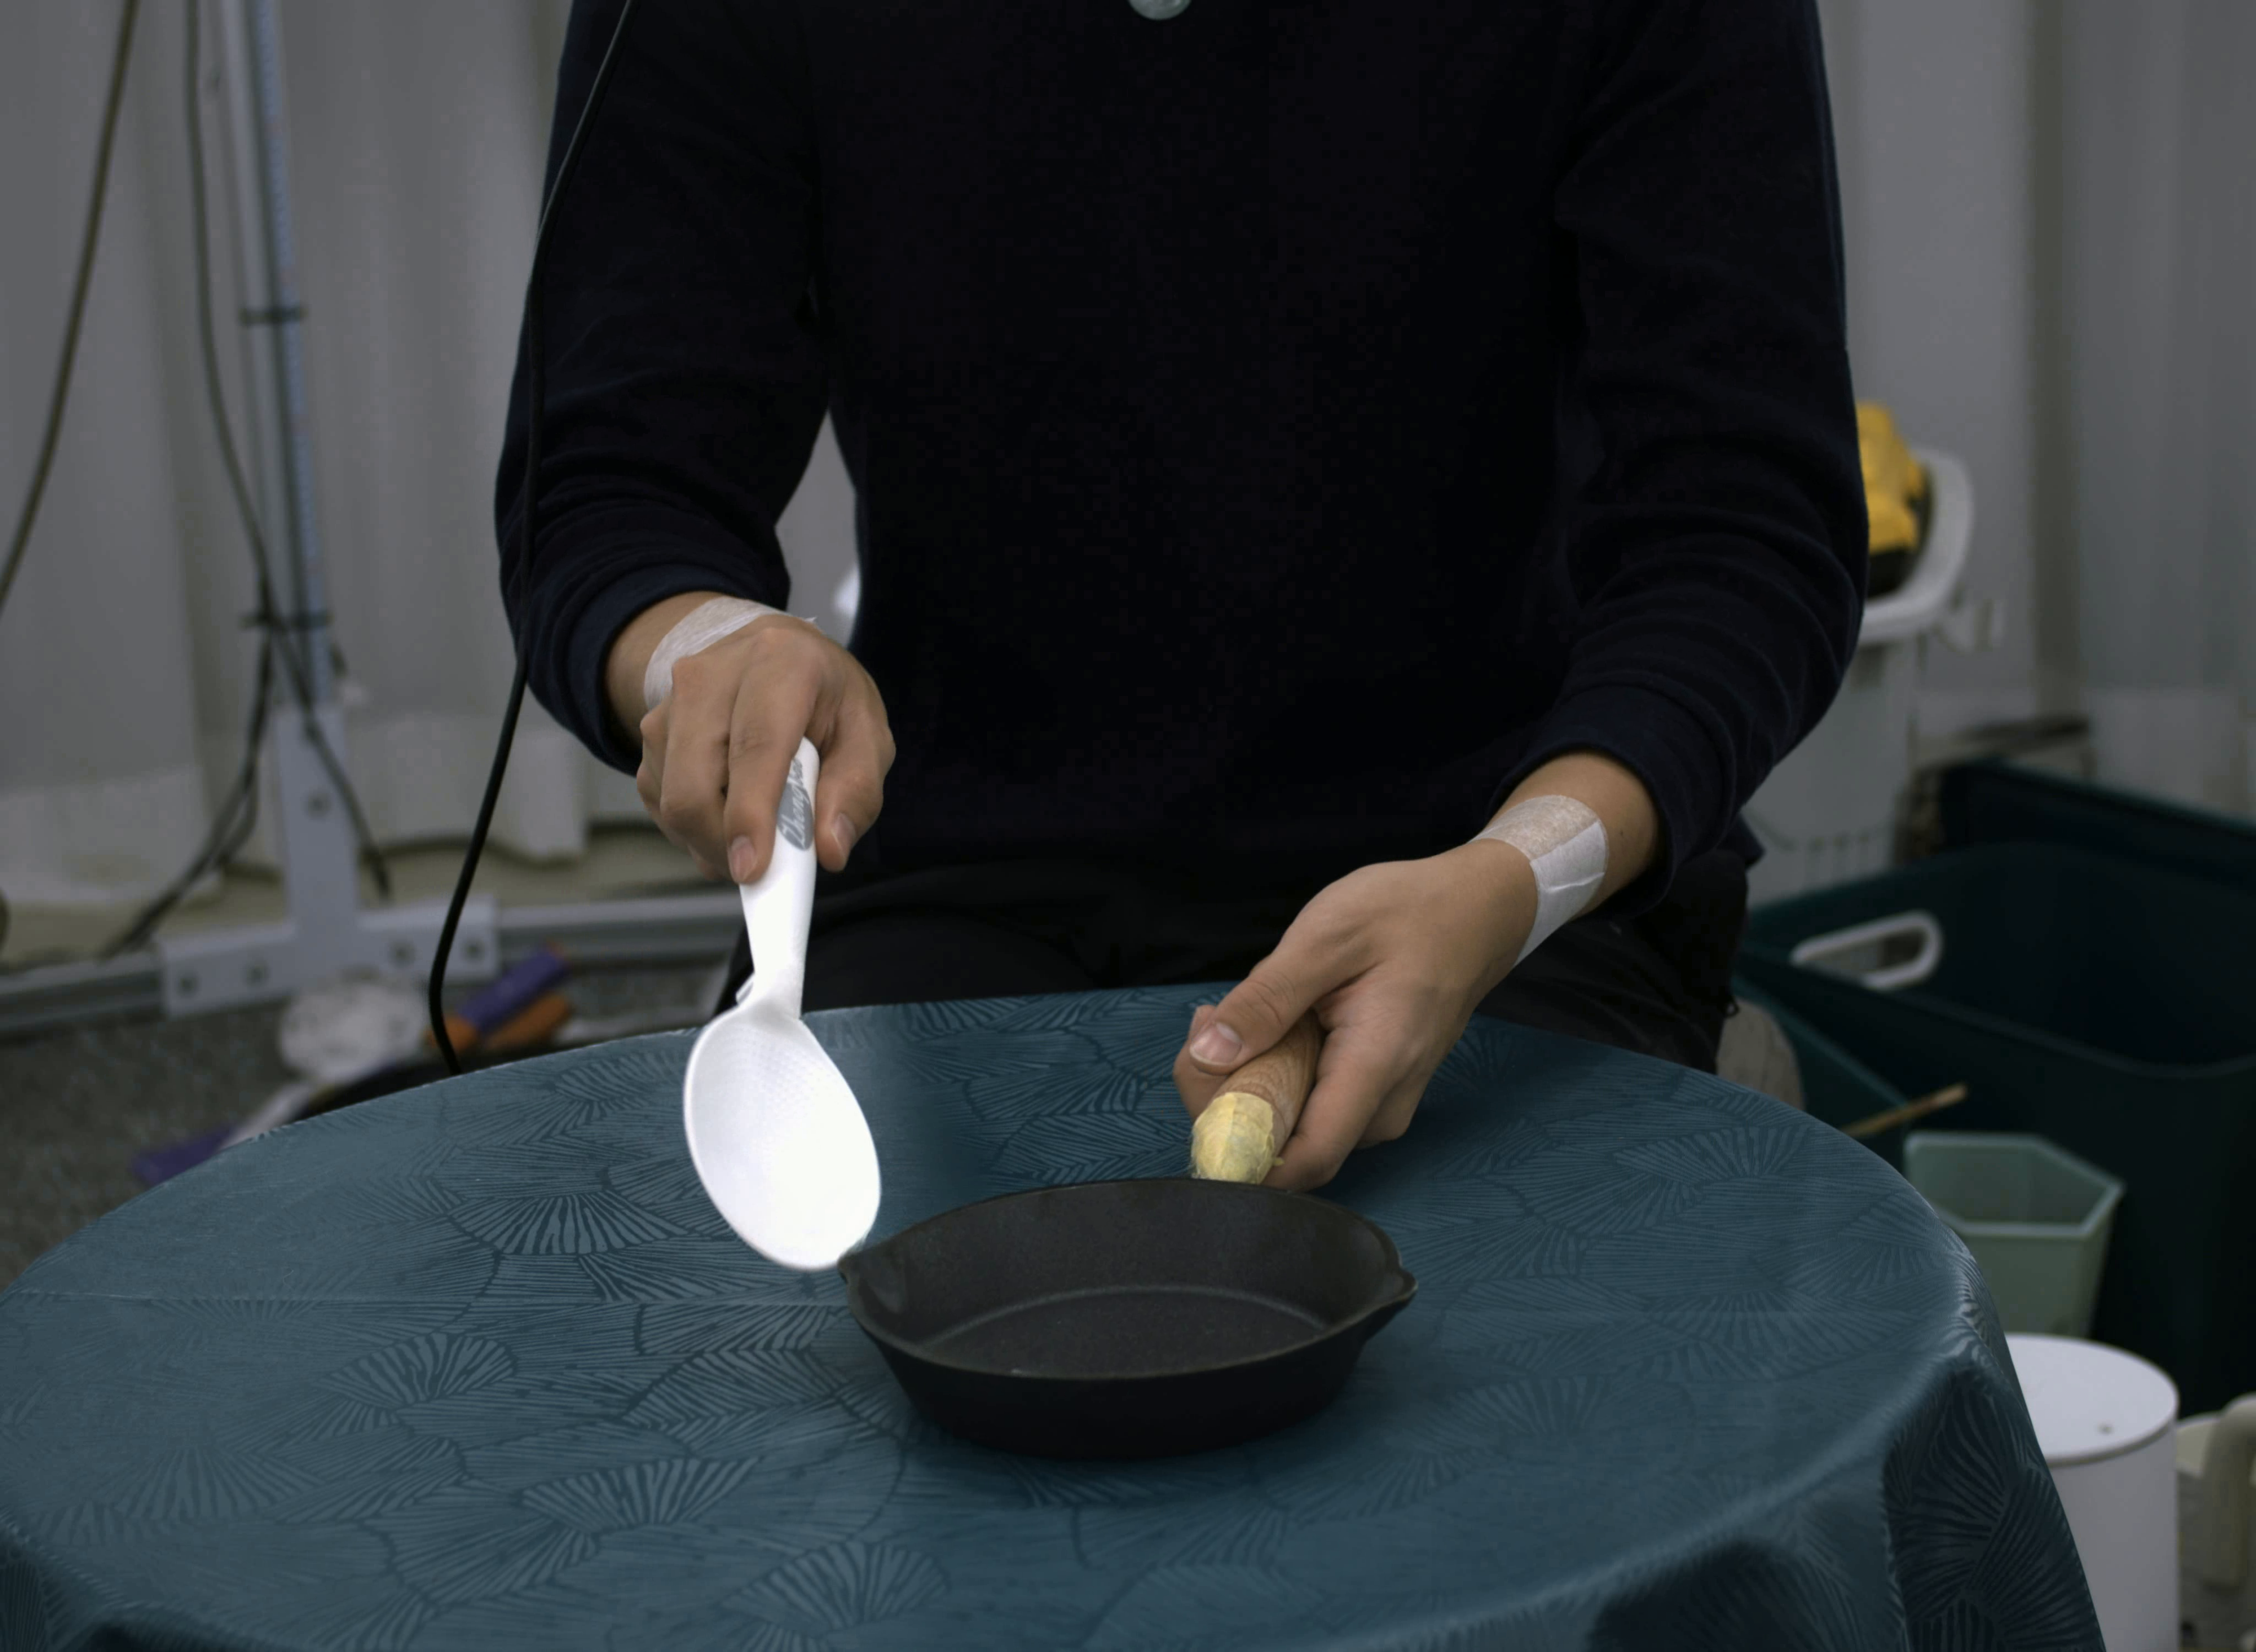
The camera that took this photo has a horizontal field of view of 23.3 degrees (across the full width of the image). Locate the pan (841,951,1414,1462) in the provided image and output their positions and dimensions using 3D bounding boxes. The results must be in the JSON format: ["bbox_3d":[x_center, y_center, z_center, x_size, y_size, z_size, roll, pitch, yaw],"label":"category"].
[{"bbox_3d":[0.025,0.109,1.624,0.169,0.049,0.326,2,18,18],"label":"pan"}]

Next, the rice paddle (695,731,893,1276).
[{"bbox_3d":[-0.102,0.053,1.631,0.068,0.029,0.208,24,37,-27],"label":"rice paddle"}]
